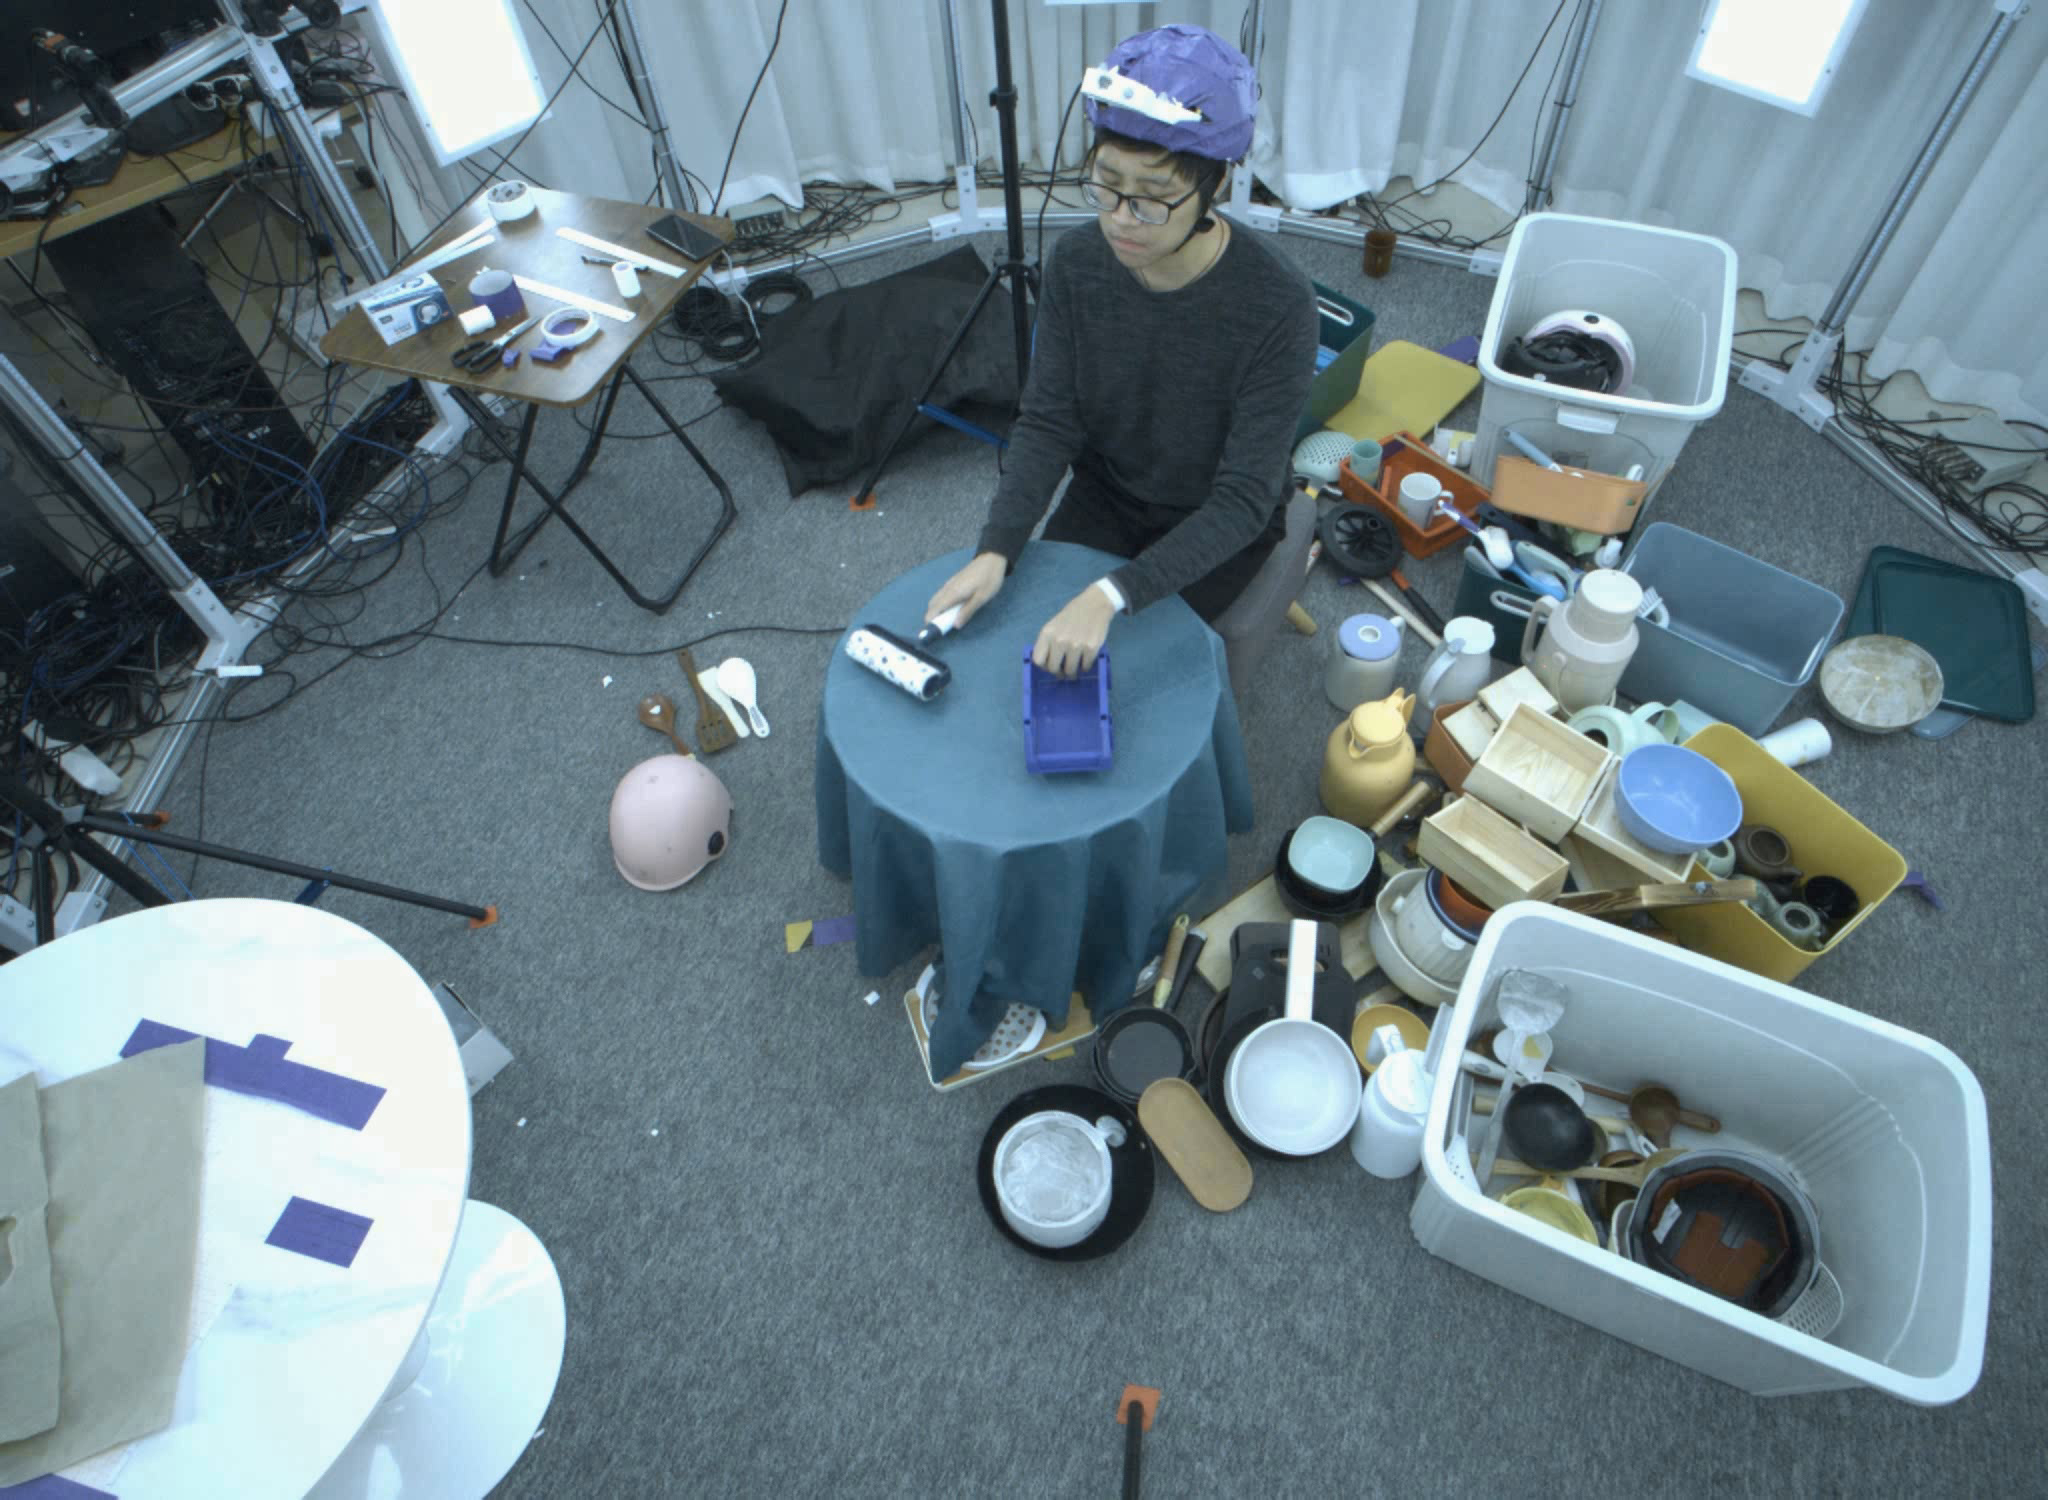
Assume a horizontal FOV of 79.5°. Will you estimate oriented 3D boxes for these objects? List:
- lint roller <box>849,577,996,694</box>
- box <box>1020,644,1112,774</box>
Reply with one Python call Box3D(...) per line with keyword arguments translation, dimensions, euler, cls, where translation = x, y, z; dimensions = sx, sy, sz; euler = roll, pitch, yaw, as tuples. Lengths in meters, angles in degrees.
Box3D(translation=(-0.132, -0.198, 1.892), dimensions=(0.172, 0.051, 0.248), euler=(28, 59, 30), cls="lint roller")
Box3D(translation=(0.062, -0.054, 1.749), dimensions=(0.124, 0.083, 0.177), euler=(-1, 57, 4), cls="box")
